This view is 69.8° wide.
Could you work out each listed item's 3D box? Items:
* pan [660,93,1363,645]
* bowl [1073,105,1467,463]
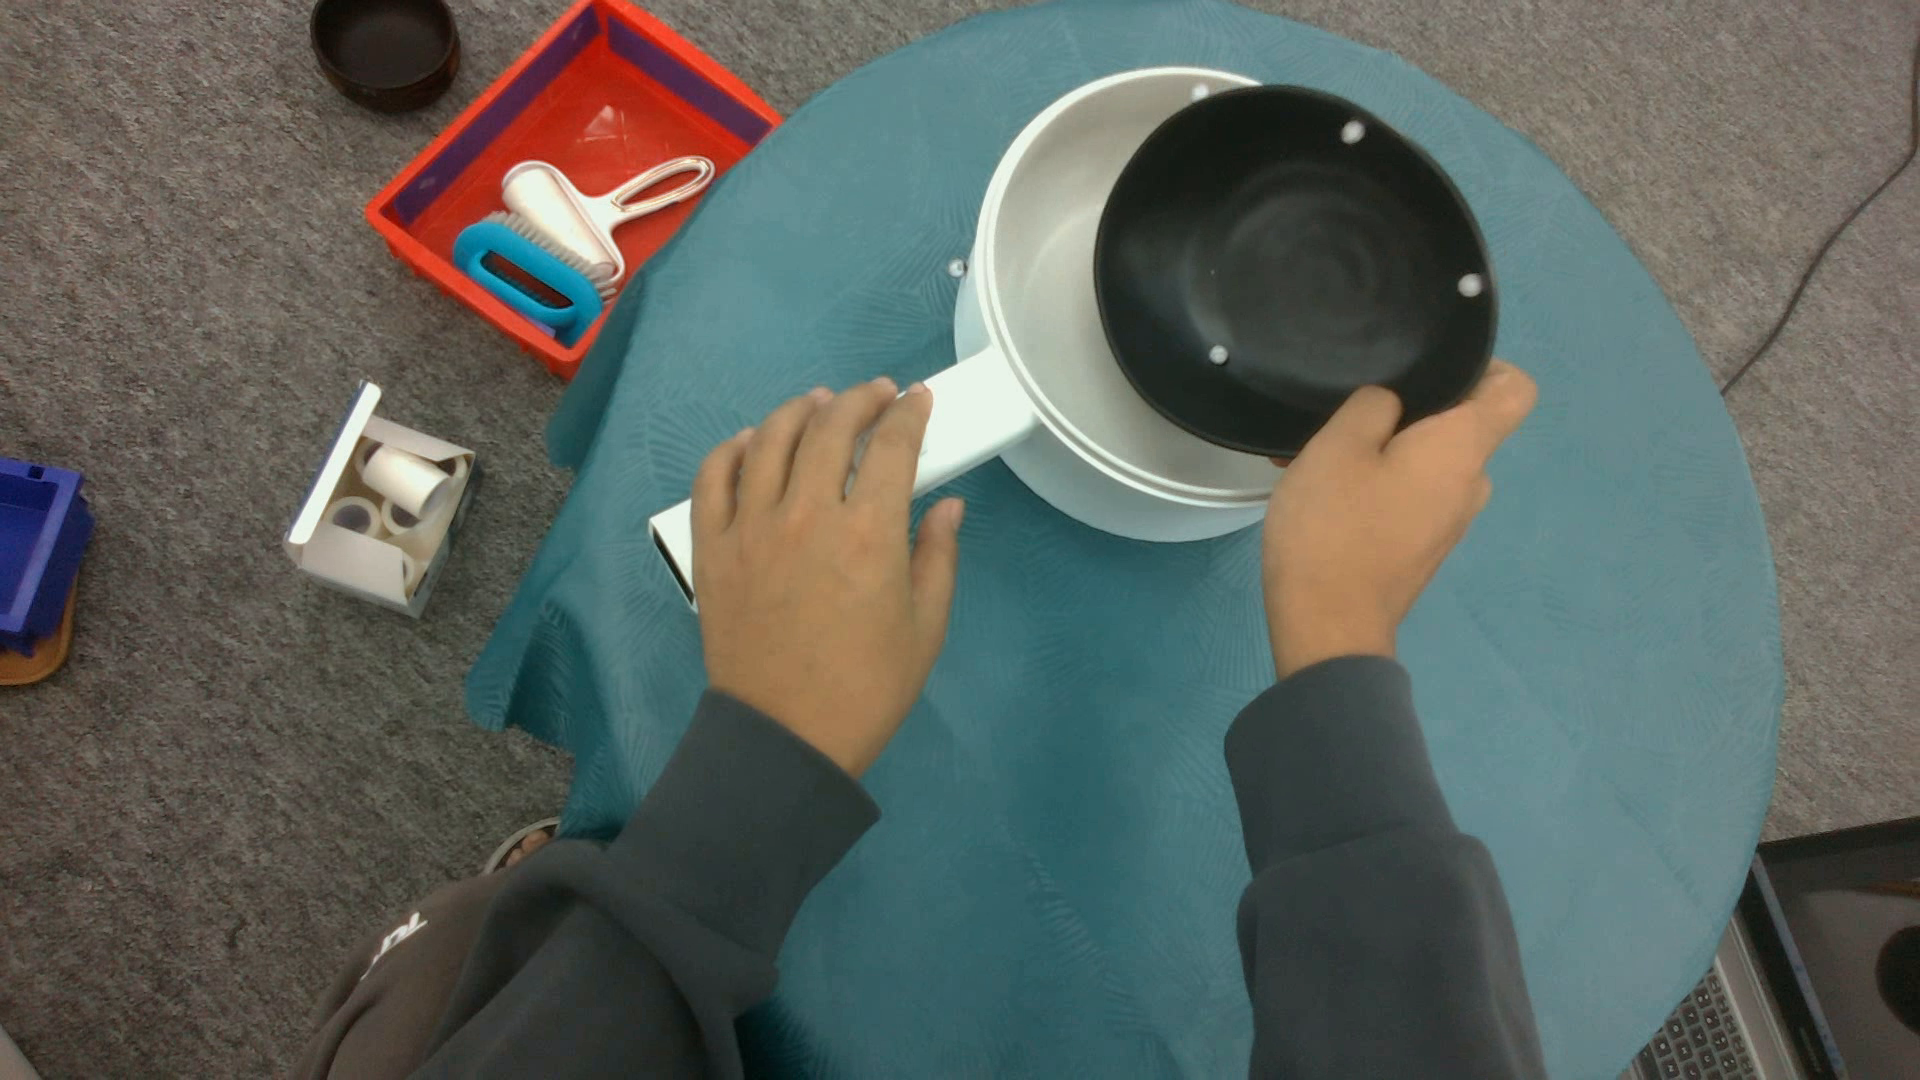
[{"bbox_3d":[0.030,-0.057,0.628,0.355,0.102,0.201,-32,85,-15],"label":"pan"},{"bbox_3d":[0.132,-0.105,0.568,0.170,0.137,0.067,25,26,31],"label":"bowl"}]
